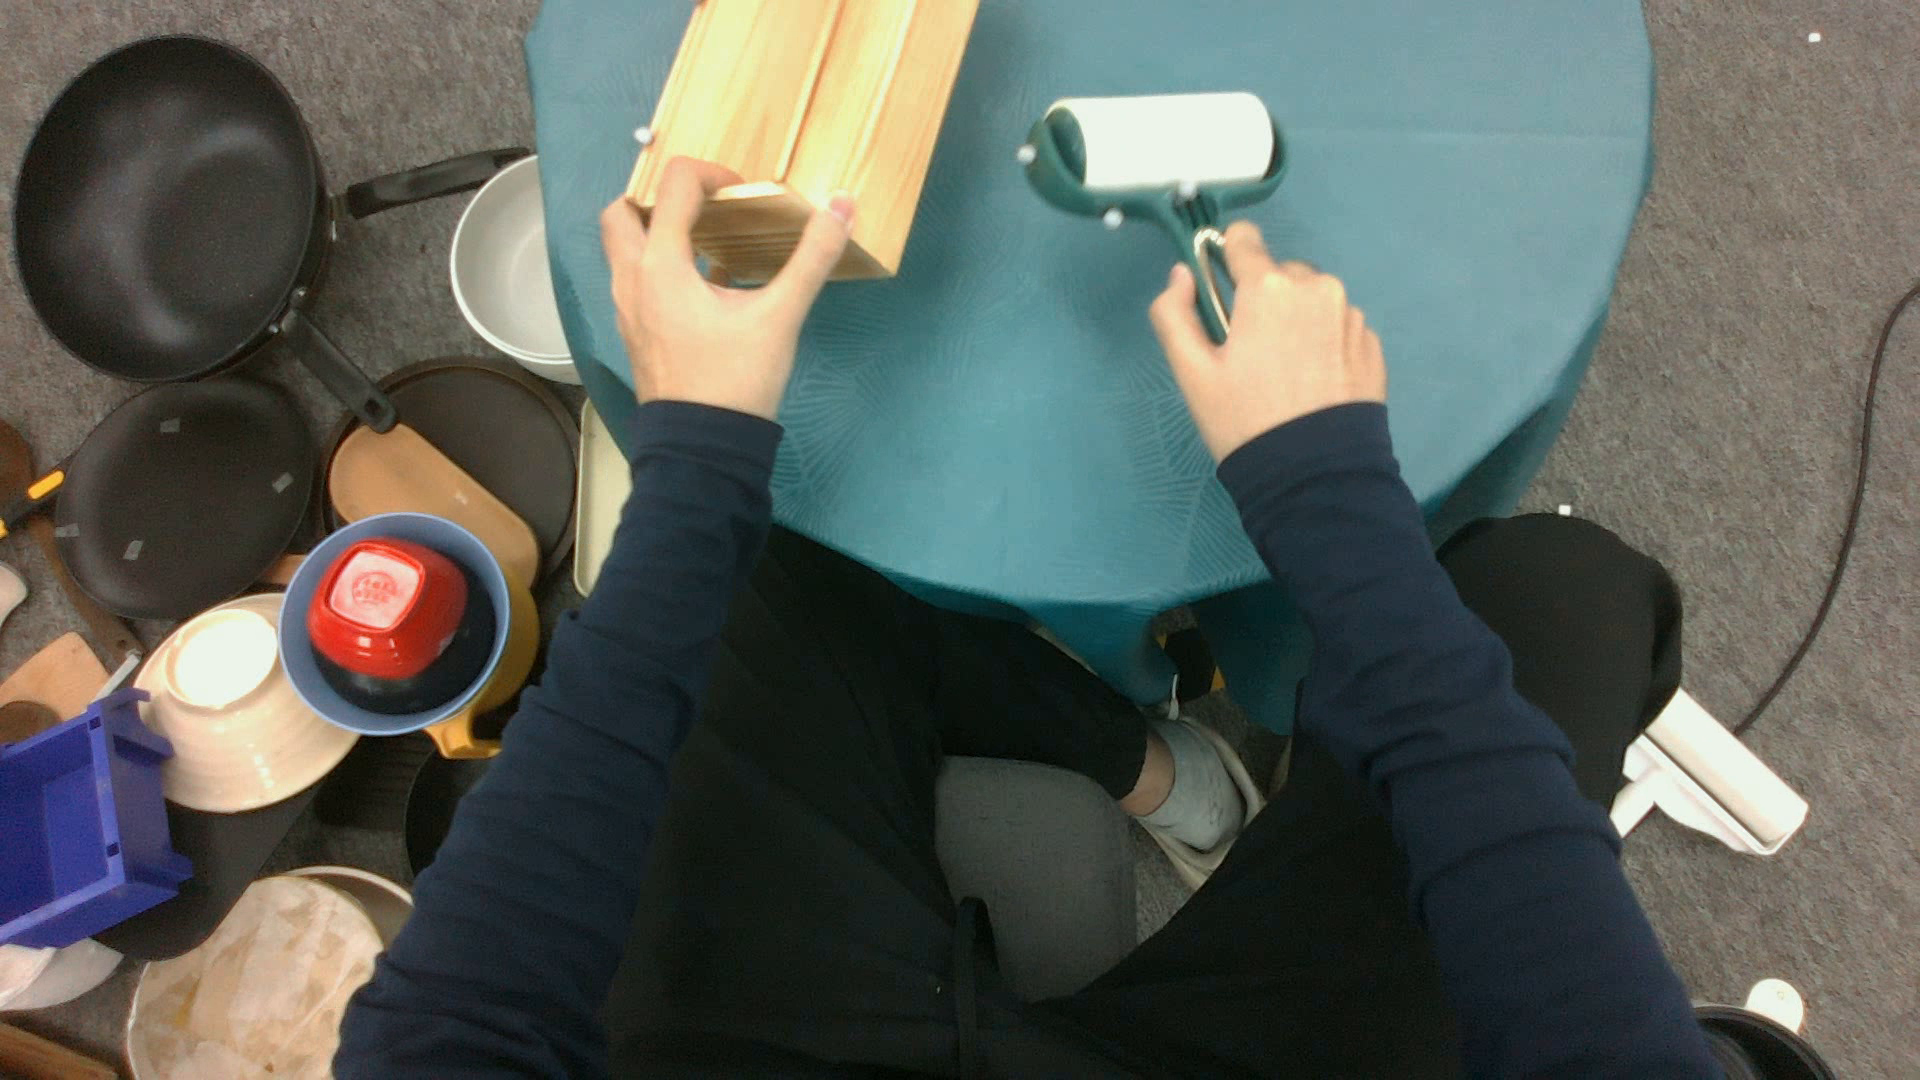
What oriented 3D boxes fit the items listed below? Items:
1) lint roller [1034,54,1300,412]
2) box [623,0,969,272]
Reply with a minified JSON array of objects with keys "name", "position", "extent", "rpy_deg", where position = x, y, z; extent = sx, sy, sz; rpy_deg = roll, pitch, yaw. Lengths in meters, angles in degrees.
[{"name":"lint roller","position":[0.117,-0.145,0.625],"extent":[0.134,0.048,0.180],"rpy_deg":[-10,65,-21]},{"name":"box","position":[-0.068,-0.243,0.668],"extent":[0.107,0.080,0.212],"rpy_deg":[6,75,31]}]
